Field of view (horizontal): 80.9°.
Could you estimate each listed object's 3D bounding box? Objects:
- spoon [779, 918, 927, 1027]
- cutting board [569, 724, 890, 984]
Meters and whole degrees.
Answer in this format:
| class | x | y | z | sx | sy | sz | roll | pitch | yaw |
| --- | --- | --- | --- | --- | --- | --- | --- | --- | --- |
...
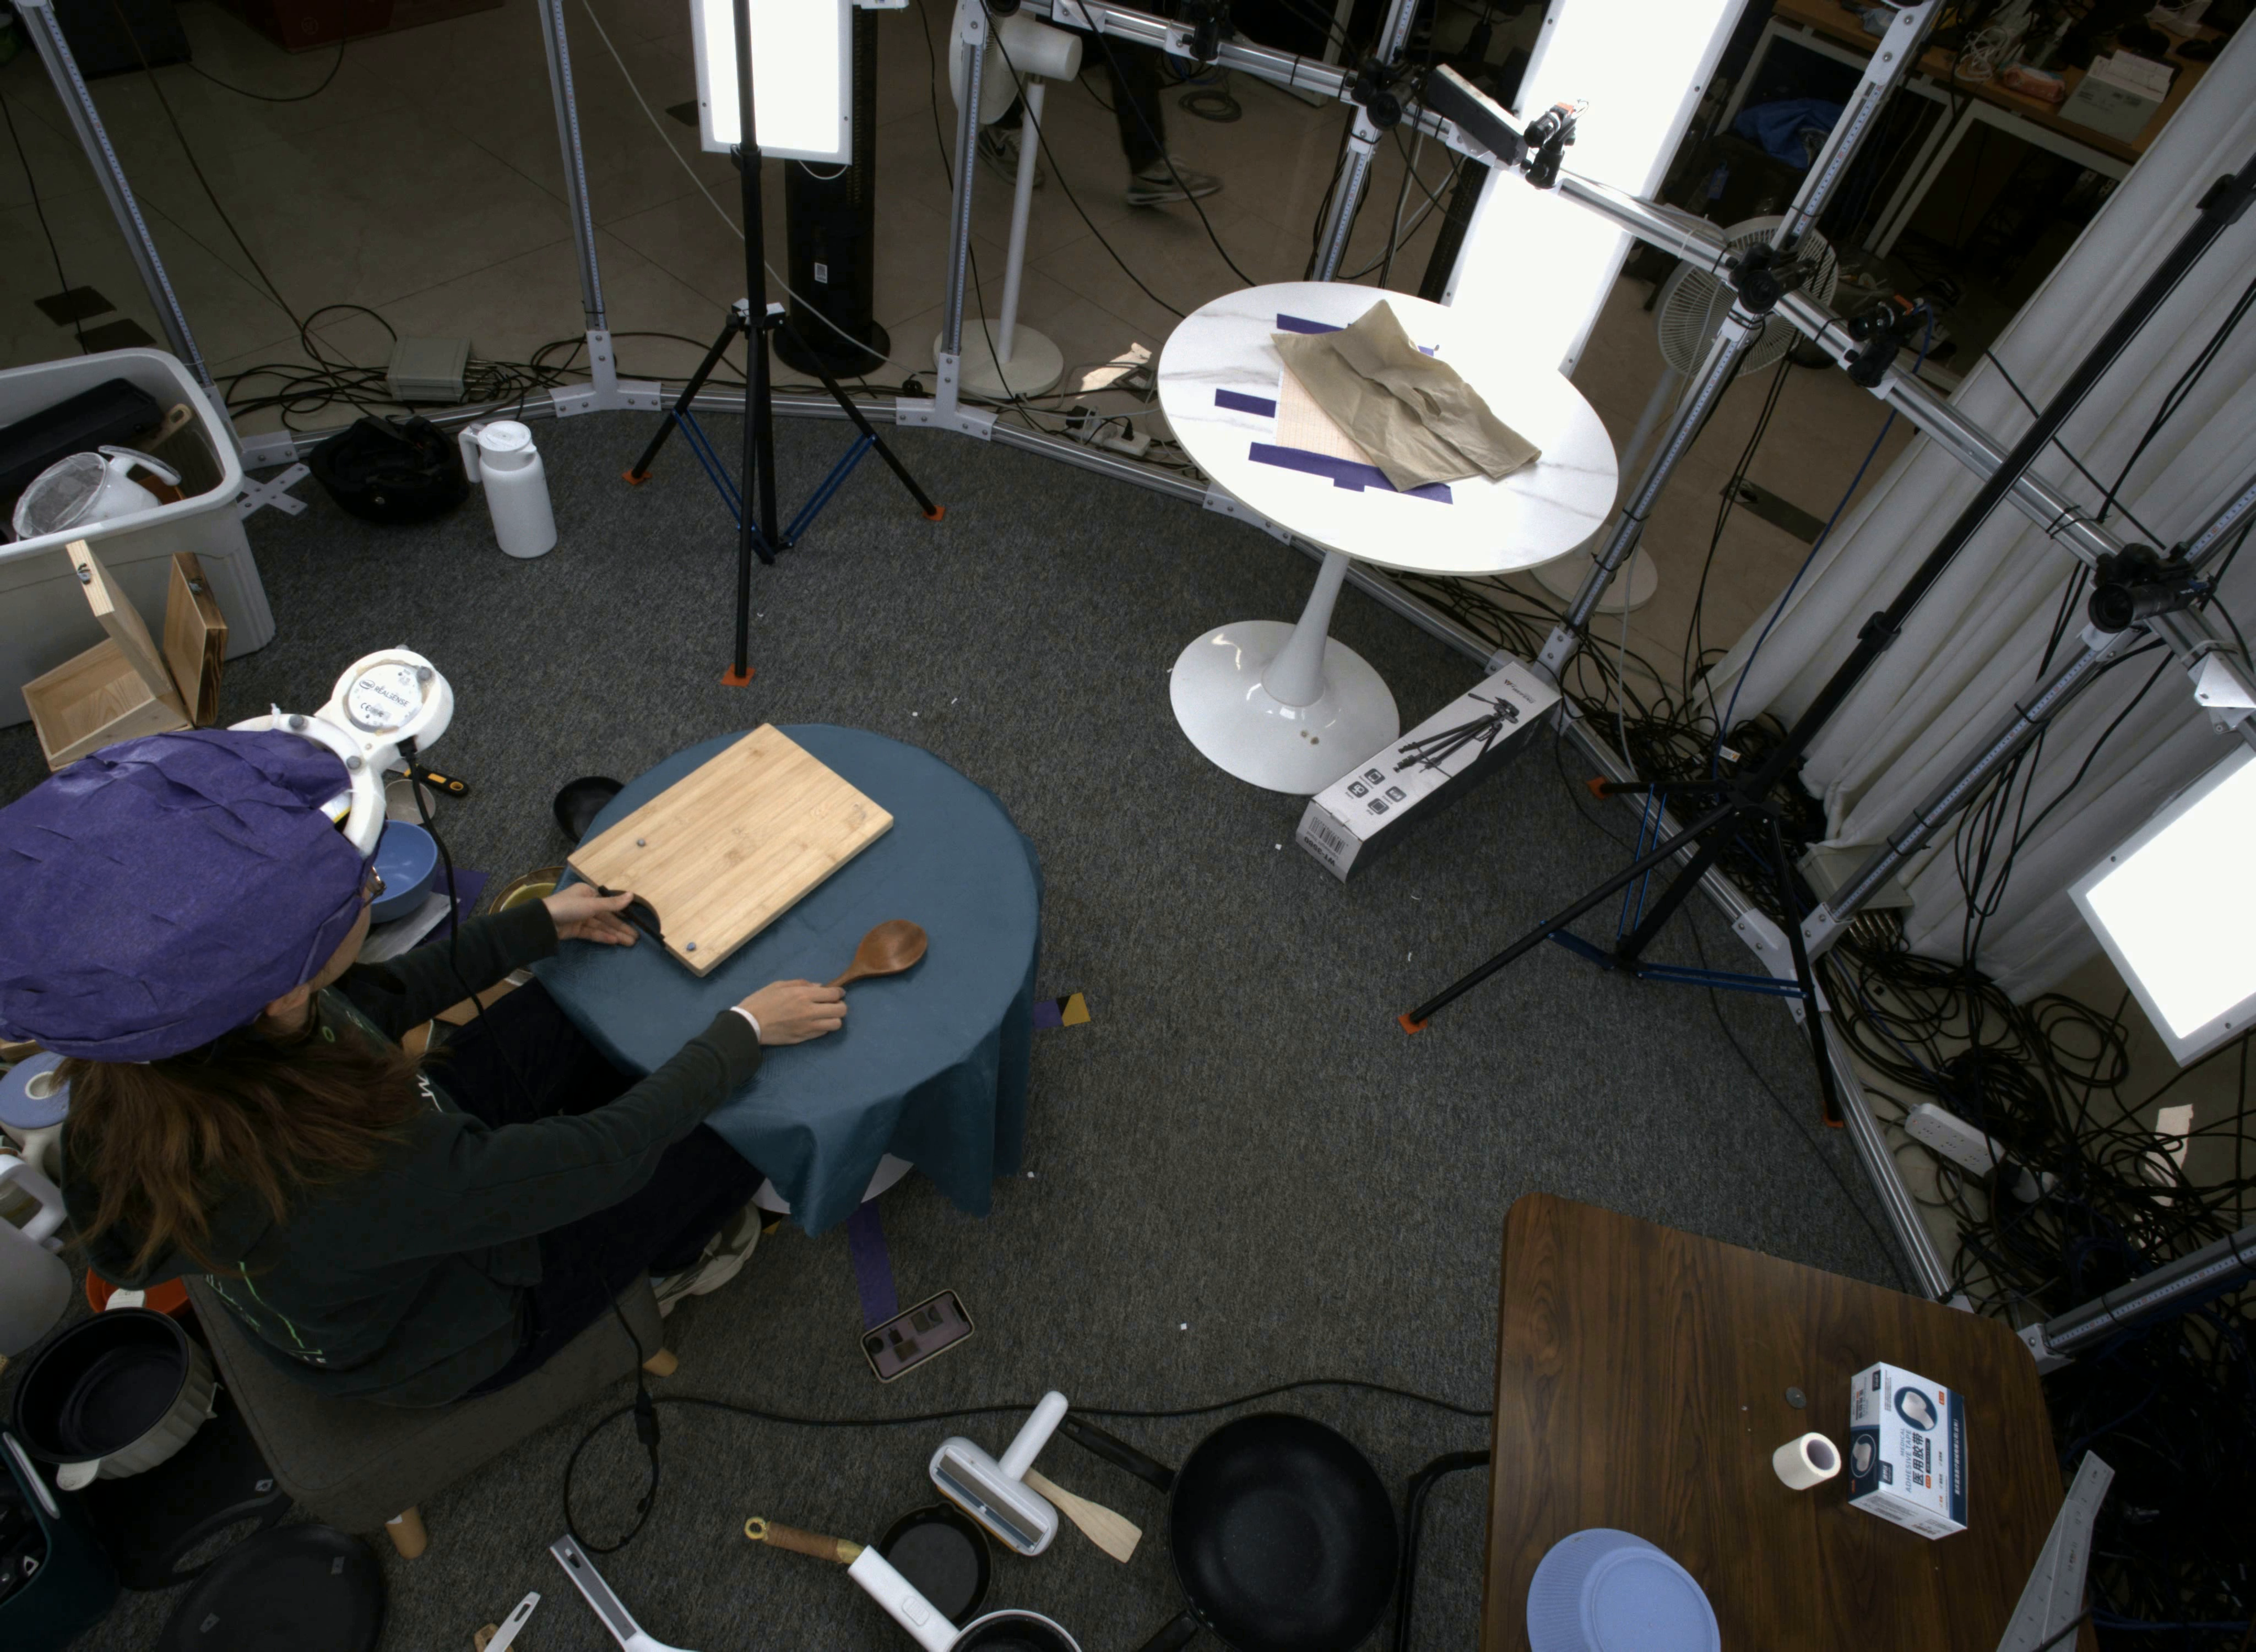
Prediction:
| class | x | y | z | sx | sy | sz | roll | pitch | yaw |
| --- | --- | --- | --- | --- | --- | --- | --- | --- | --- |
| spoon | -0.339 | 0.180 | 1.602 | 0.074 | 0.017 | 0.216 | 43 | 53 | 17 |
| cutting board | -0.511 | 0.023 | 1.670 | 0.246 | 0.024 | 0.348 | 35 | 51 | 13 |
